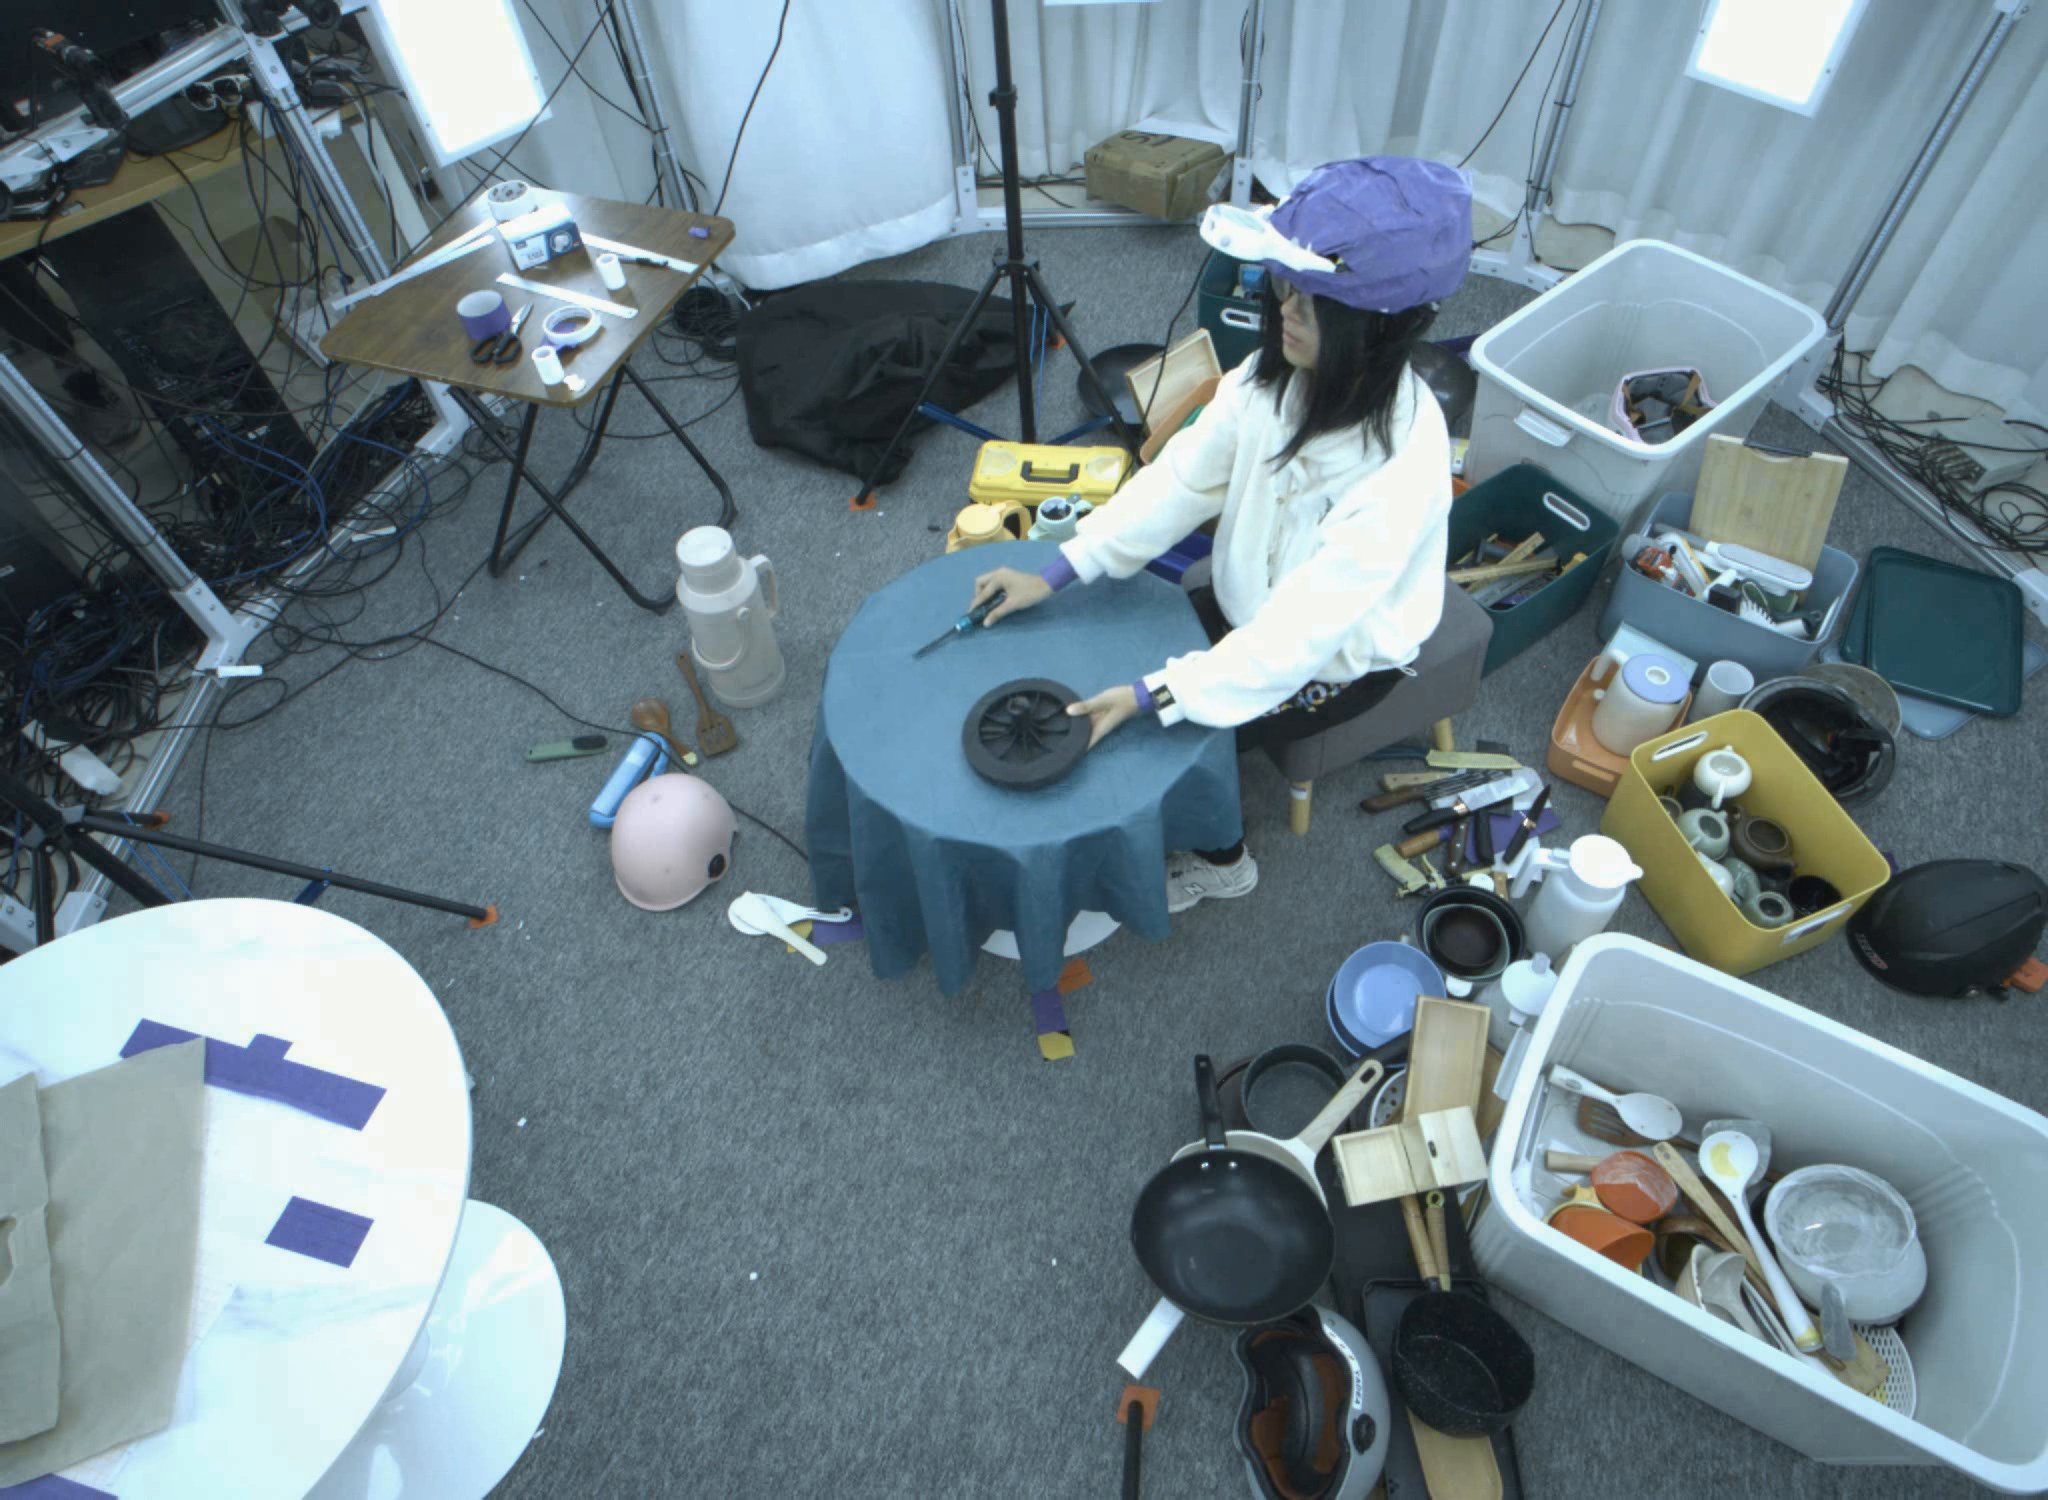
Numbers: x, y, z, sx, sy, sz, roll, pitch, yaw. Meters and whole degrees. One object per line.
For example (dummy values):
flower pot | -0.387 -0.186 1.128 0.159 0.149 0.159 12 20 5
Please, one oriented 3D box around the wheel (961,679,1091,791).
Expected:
wheel | -0.002 -0.036 1.762 0.190 0.080 0.184 -19 54 0

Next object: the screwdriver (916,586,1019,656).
screwdriver | -0.091 -0.198 1.915 0.191 0.034 0.033 -35 60 -13
